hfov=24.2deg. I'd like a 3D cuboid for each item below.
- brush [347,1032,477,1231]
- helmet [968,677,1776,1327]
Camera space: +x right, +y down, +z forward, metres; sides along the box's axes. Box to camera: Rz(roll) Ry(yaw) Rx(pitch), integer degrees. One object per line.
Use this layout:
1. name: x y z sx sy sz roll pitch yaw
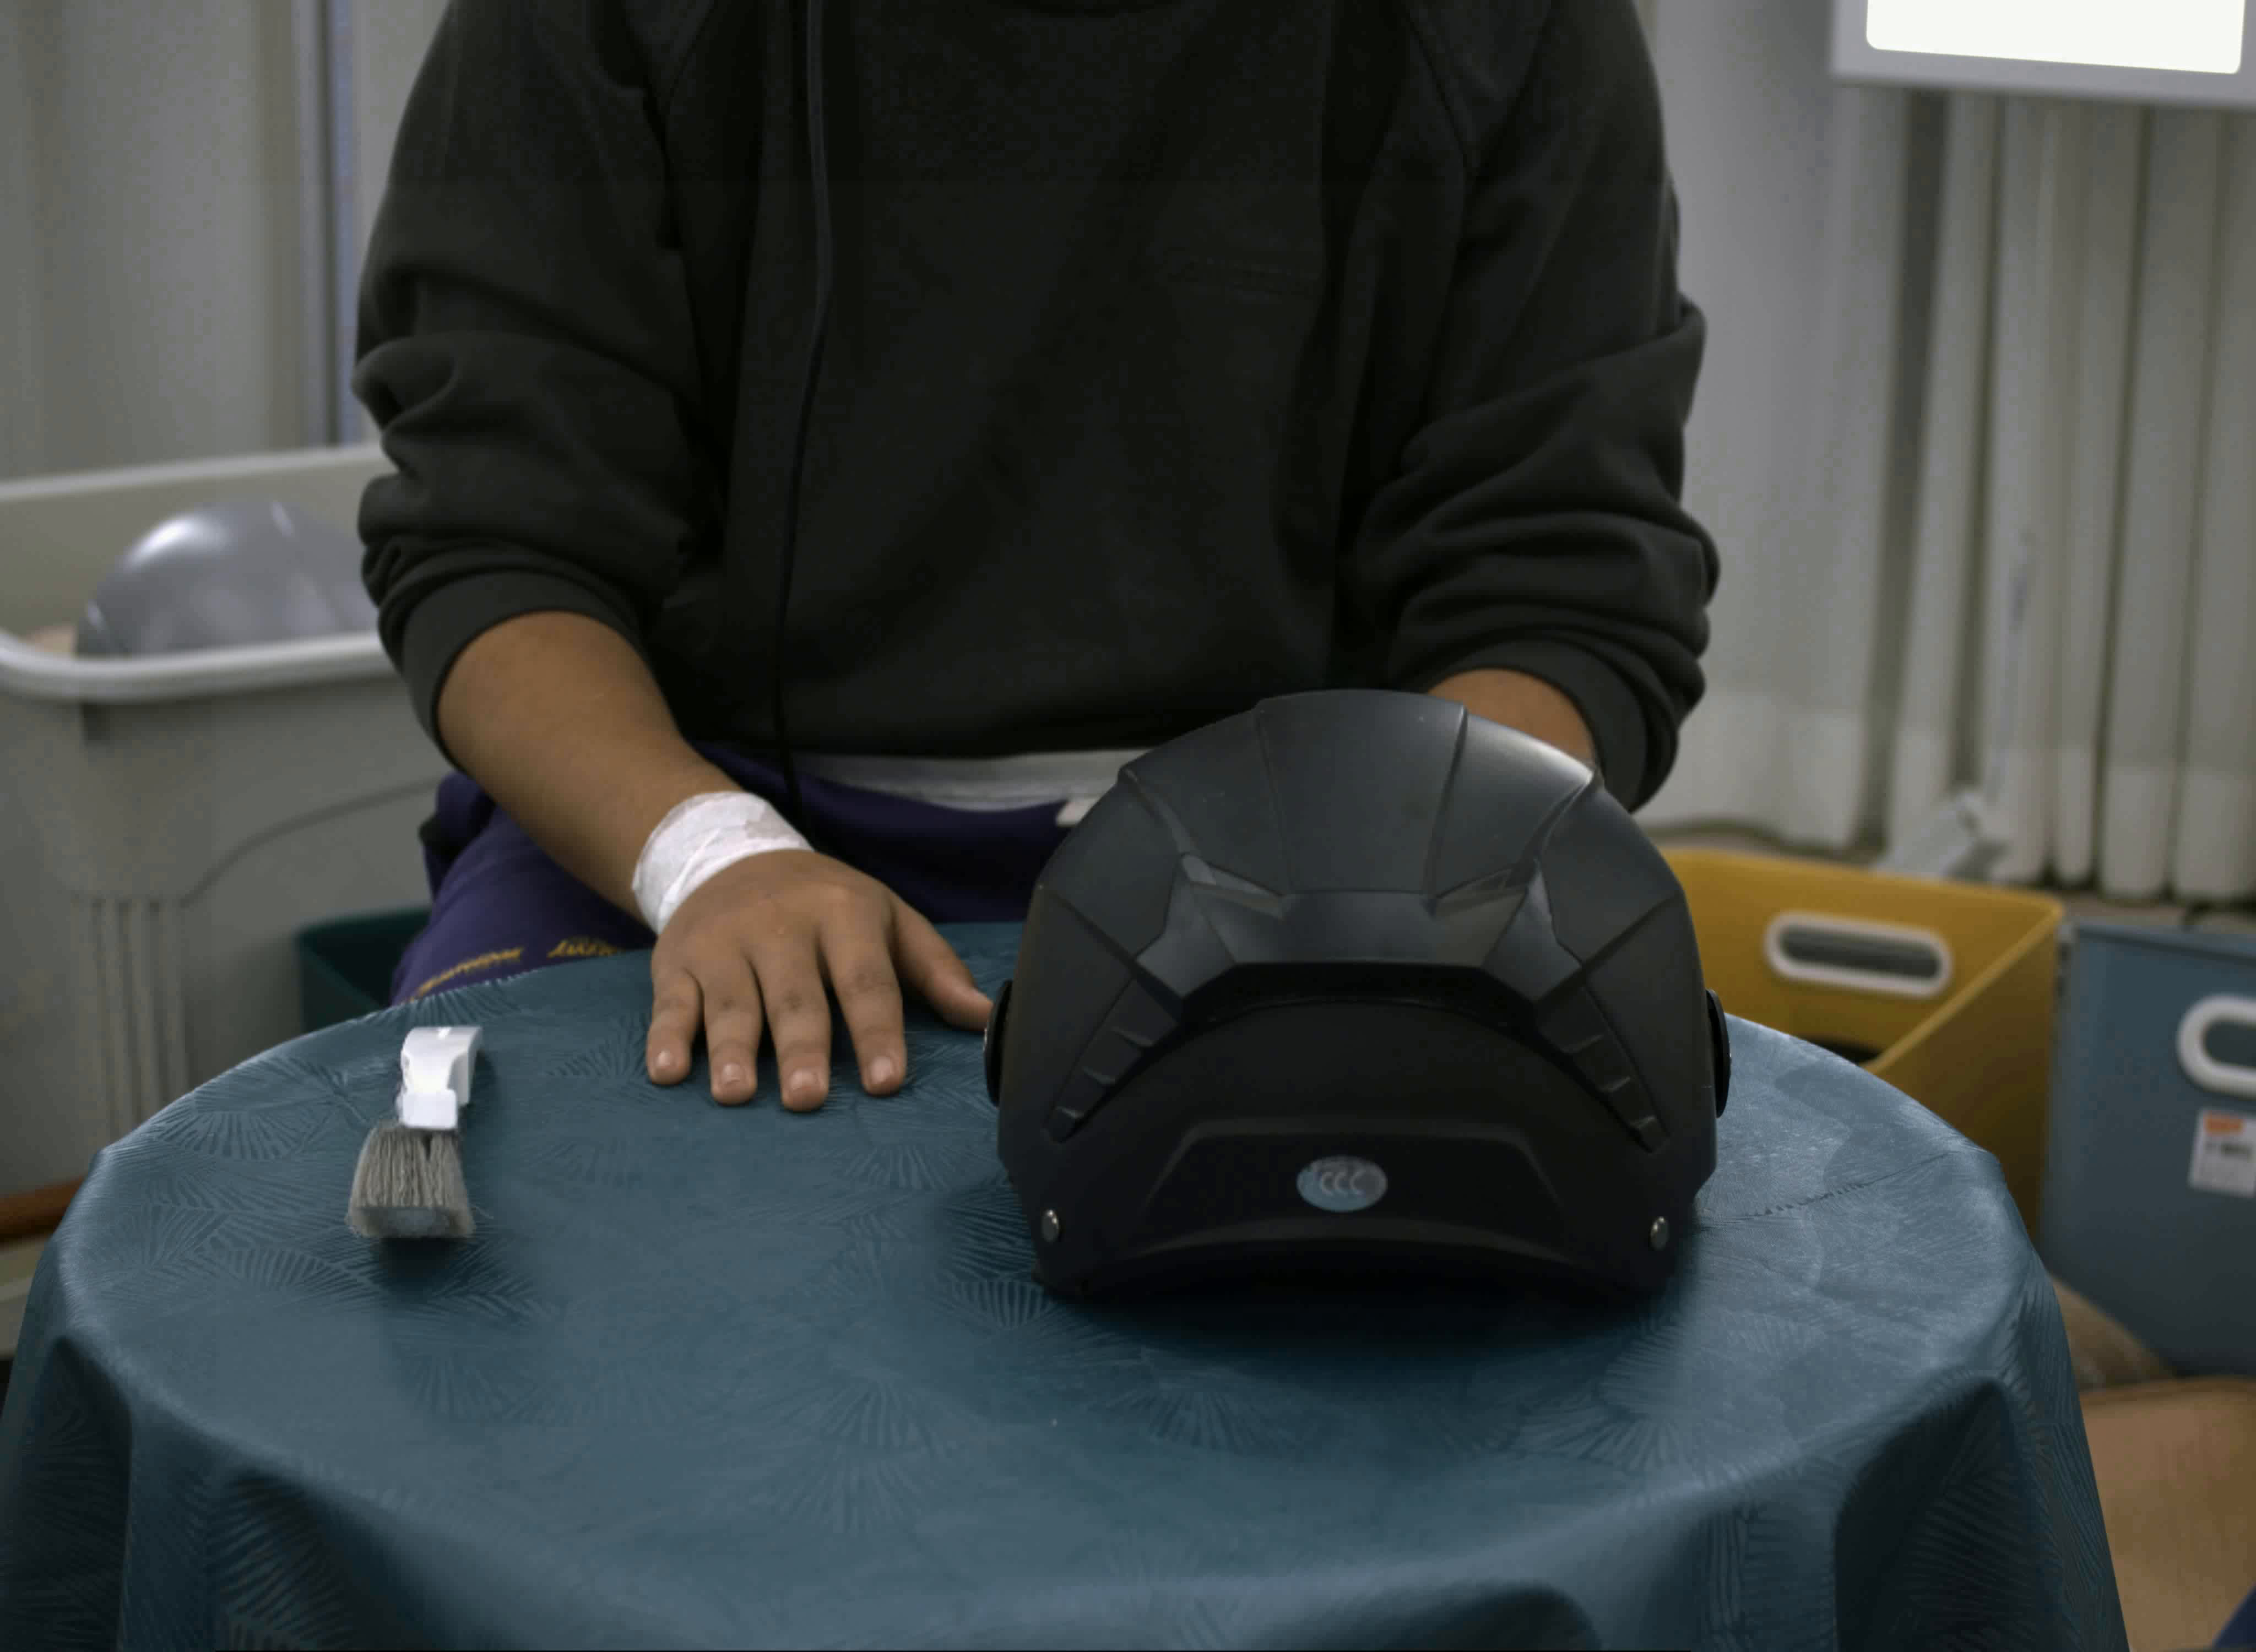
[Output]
1. brush: -0.219 0.094 1.638 0.034 0.050 0.243 -2 2 -5
2. helmet: 0.073 0.042 1.583 0.245 0.174 0.275 2 19 3
